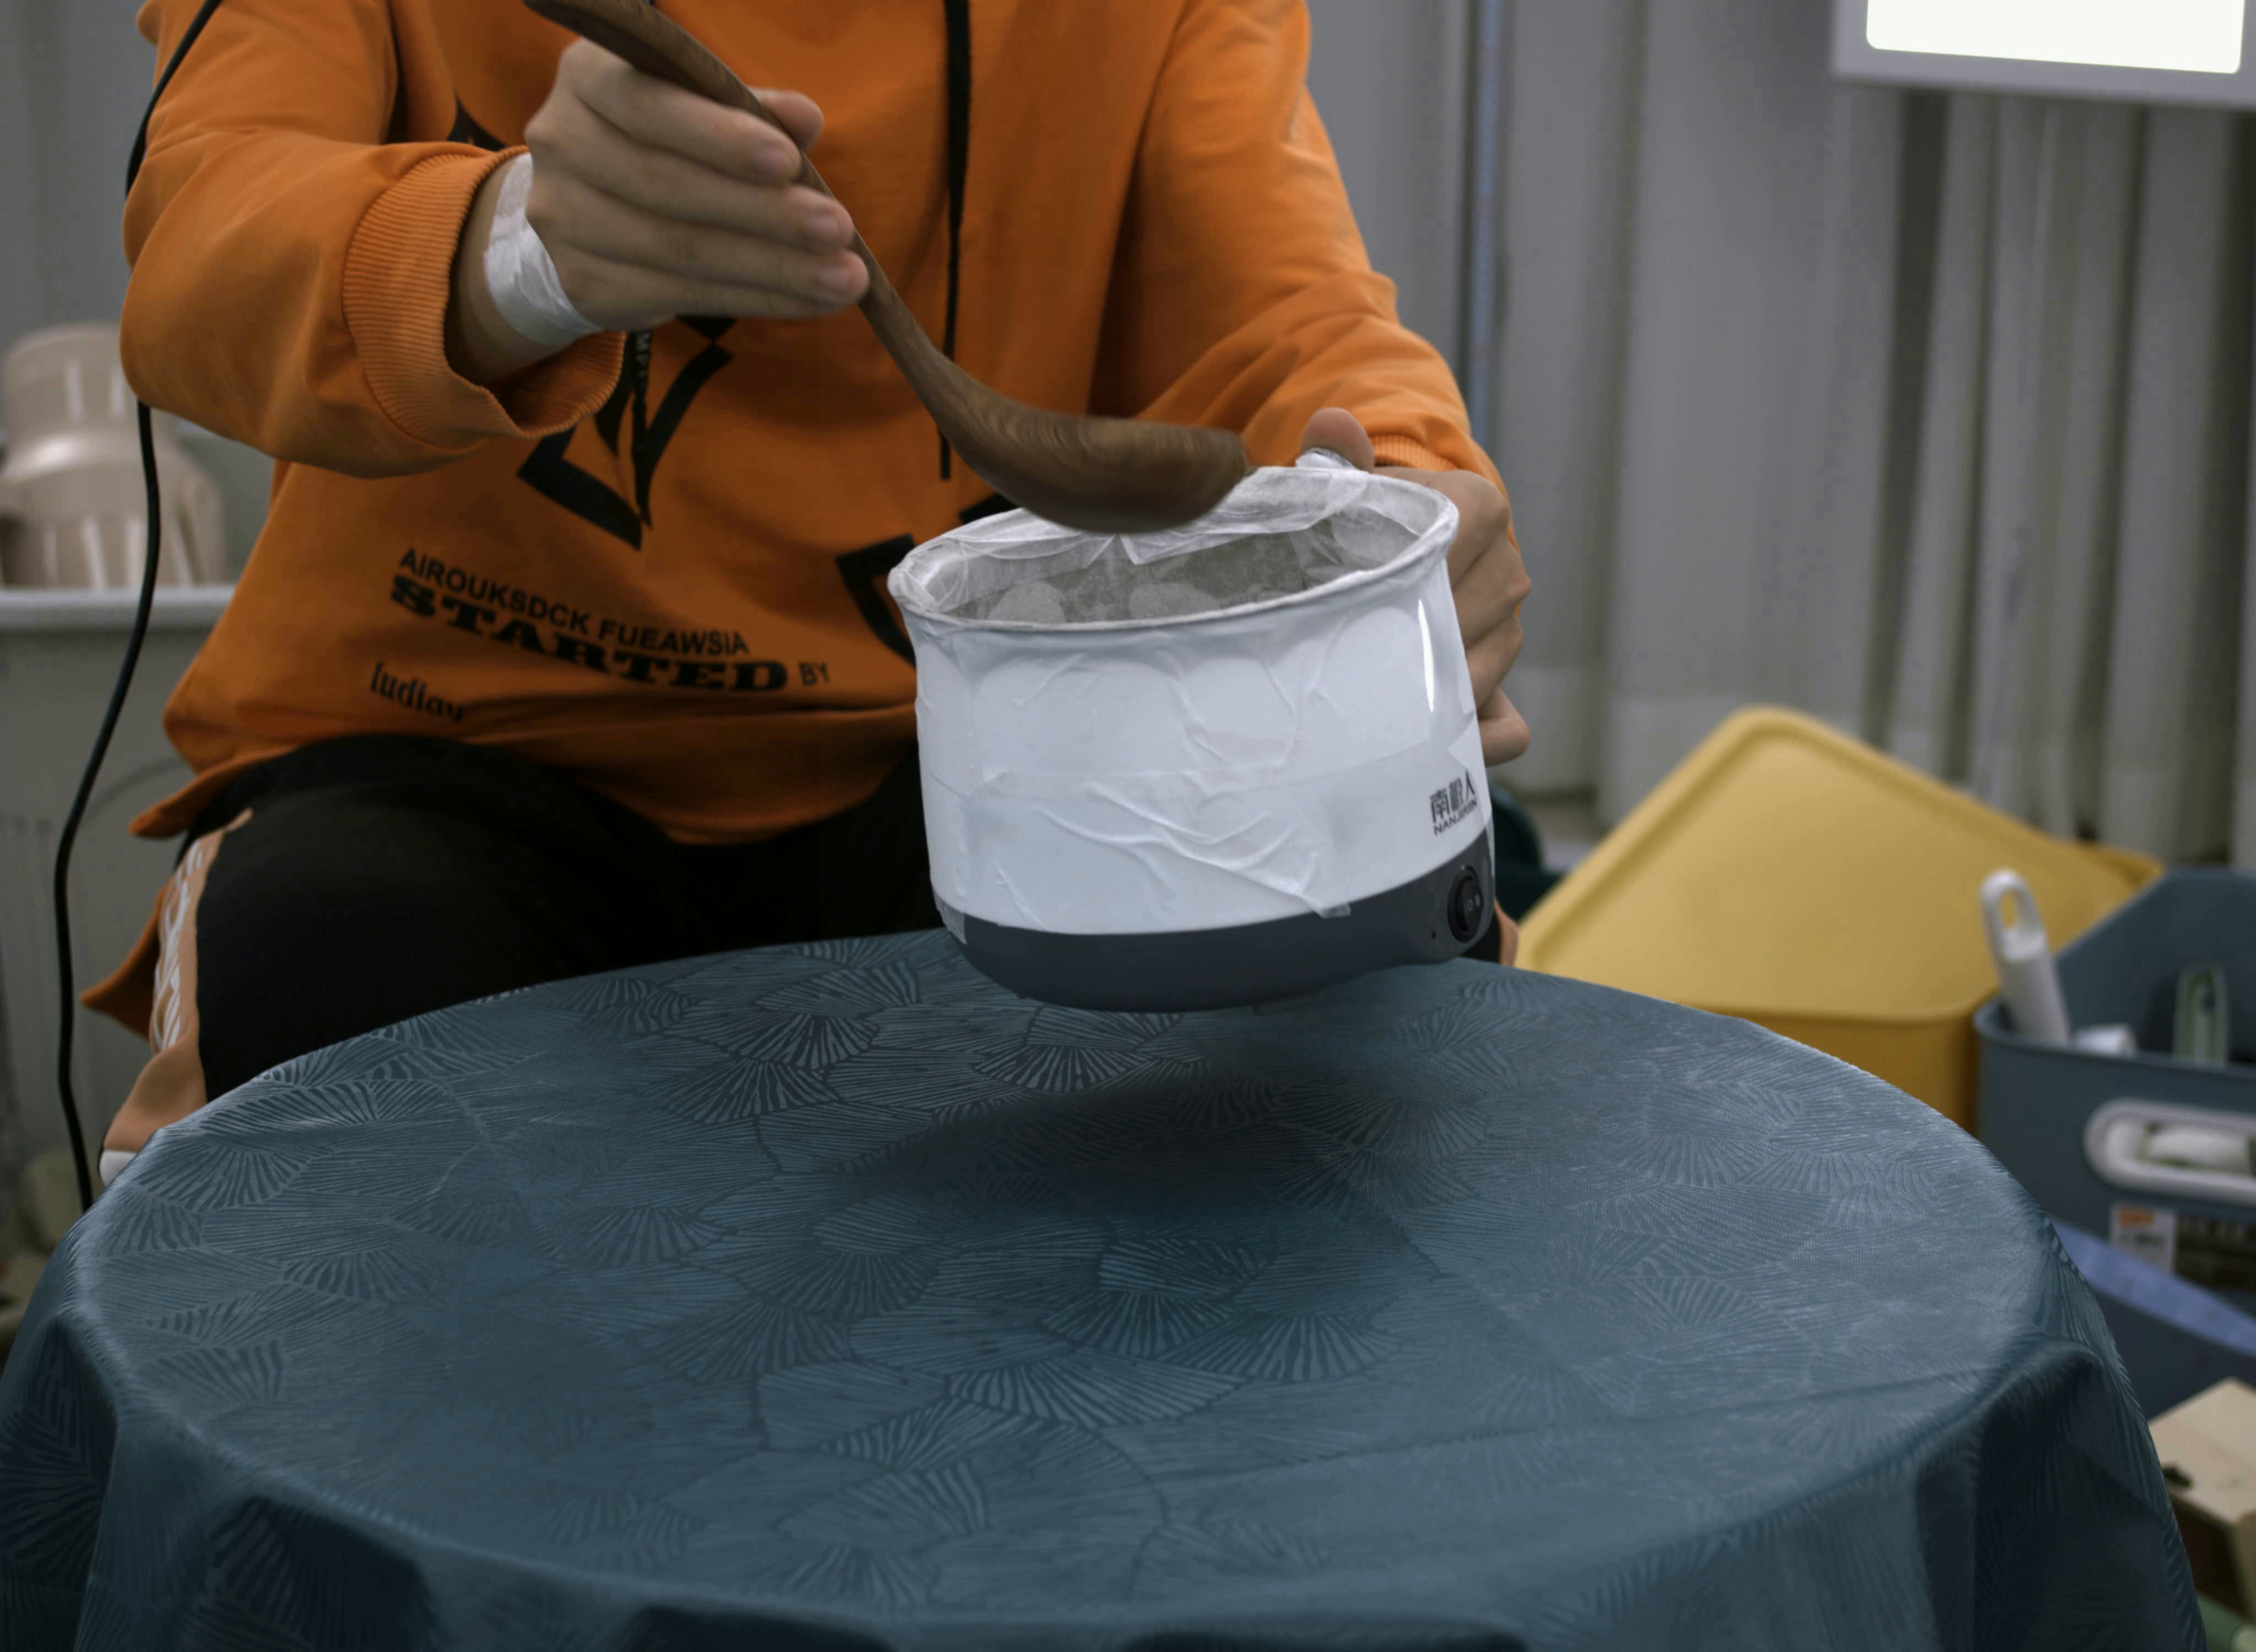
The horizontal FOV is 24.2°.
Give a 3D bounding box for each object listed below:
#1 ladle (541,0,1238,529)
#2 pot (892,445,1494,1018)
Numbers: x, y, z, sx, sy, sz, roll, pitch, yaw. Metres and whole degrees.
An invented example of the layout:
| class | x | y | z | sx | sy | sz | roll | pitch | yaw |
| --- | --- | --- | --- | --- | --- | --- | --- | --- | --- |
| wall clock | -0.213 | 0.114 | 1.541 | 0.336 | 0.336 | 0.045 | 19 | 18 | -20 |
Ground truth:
| class | x | y | z | sx | sy | sz | roll | pitch | yaw |
| --- | --- | --- | --- | --- | --- | --- | --- | --- | --- |
| ladle | -0.072 | -0.180 | 1.545 | 0.065 | 0.262 | 0.076 | -52 | 16 | -27 |
| pot | 0.034 | -0.035 | 1.656 | 0.177 | 0.138 | 0.234 | 3 | 20 | 27 |
